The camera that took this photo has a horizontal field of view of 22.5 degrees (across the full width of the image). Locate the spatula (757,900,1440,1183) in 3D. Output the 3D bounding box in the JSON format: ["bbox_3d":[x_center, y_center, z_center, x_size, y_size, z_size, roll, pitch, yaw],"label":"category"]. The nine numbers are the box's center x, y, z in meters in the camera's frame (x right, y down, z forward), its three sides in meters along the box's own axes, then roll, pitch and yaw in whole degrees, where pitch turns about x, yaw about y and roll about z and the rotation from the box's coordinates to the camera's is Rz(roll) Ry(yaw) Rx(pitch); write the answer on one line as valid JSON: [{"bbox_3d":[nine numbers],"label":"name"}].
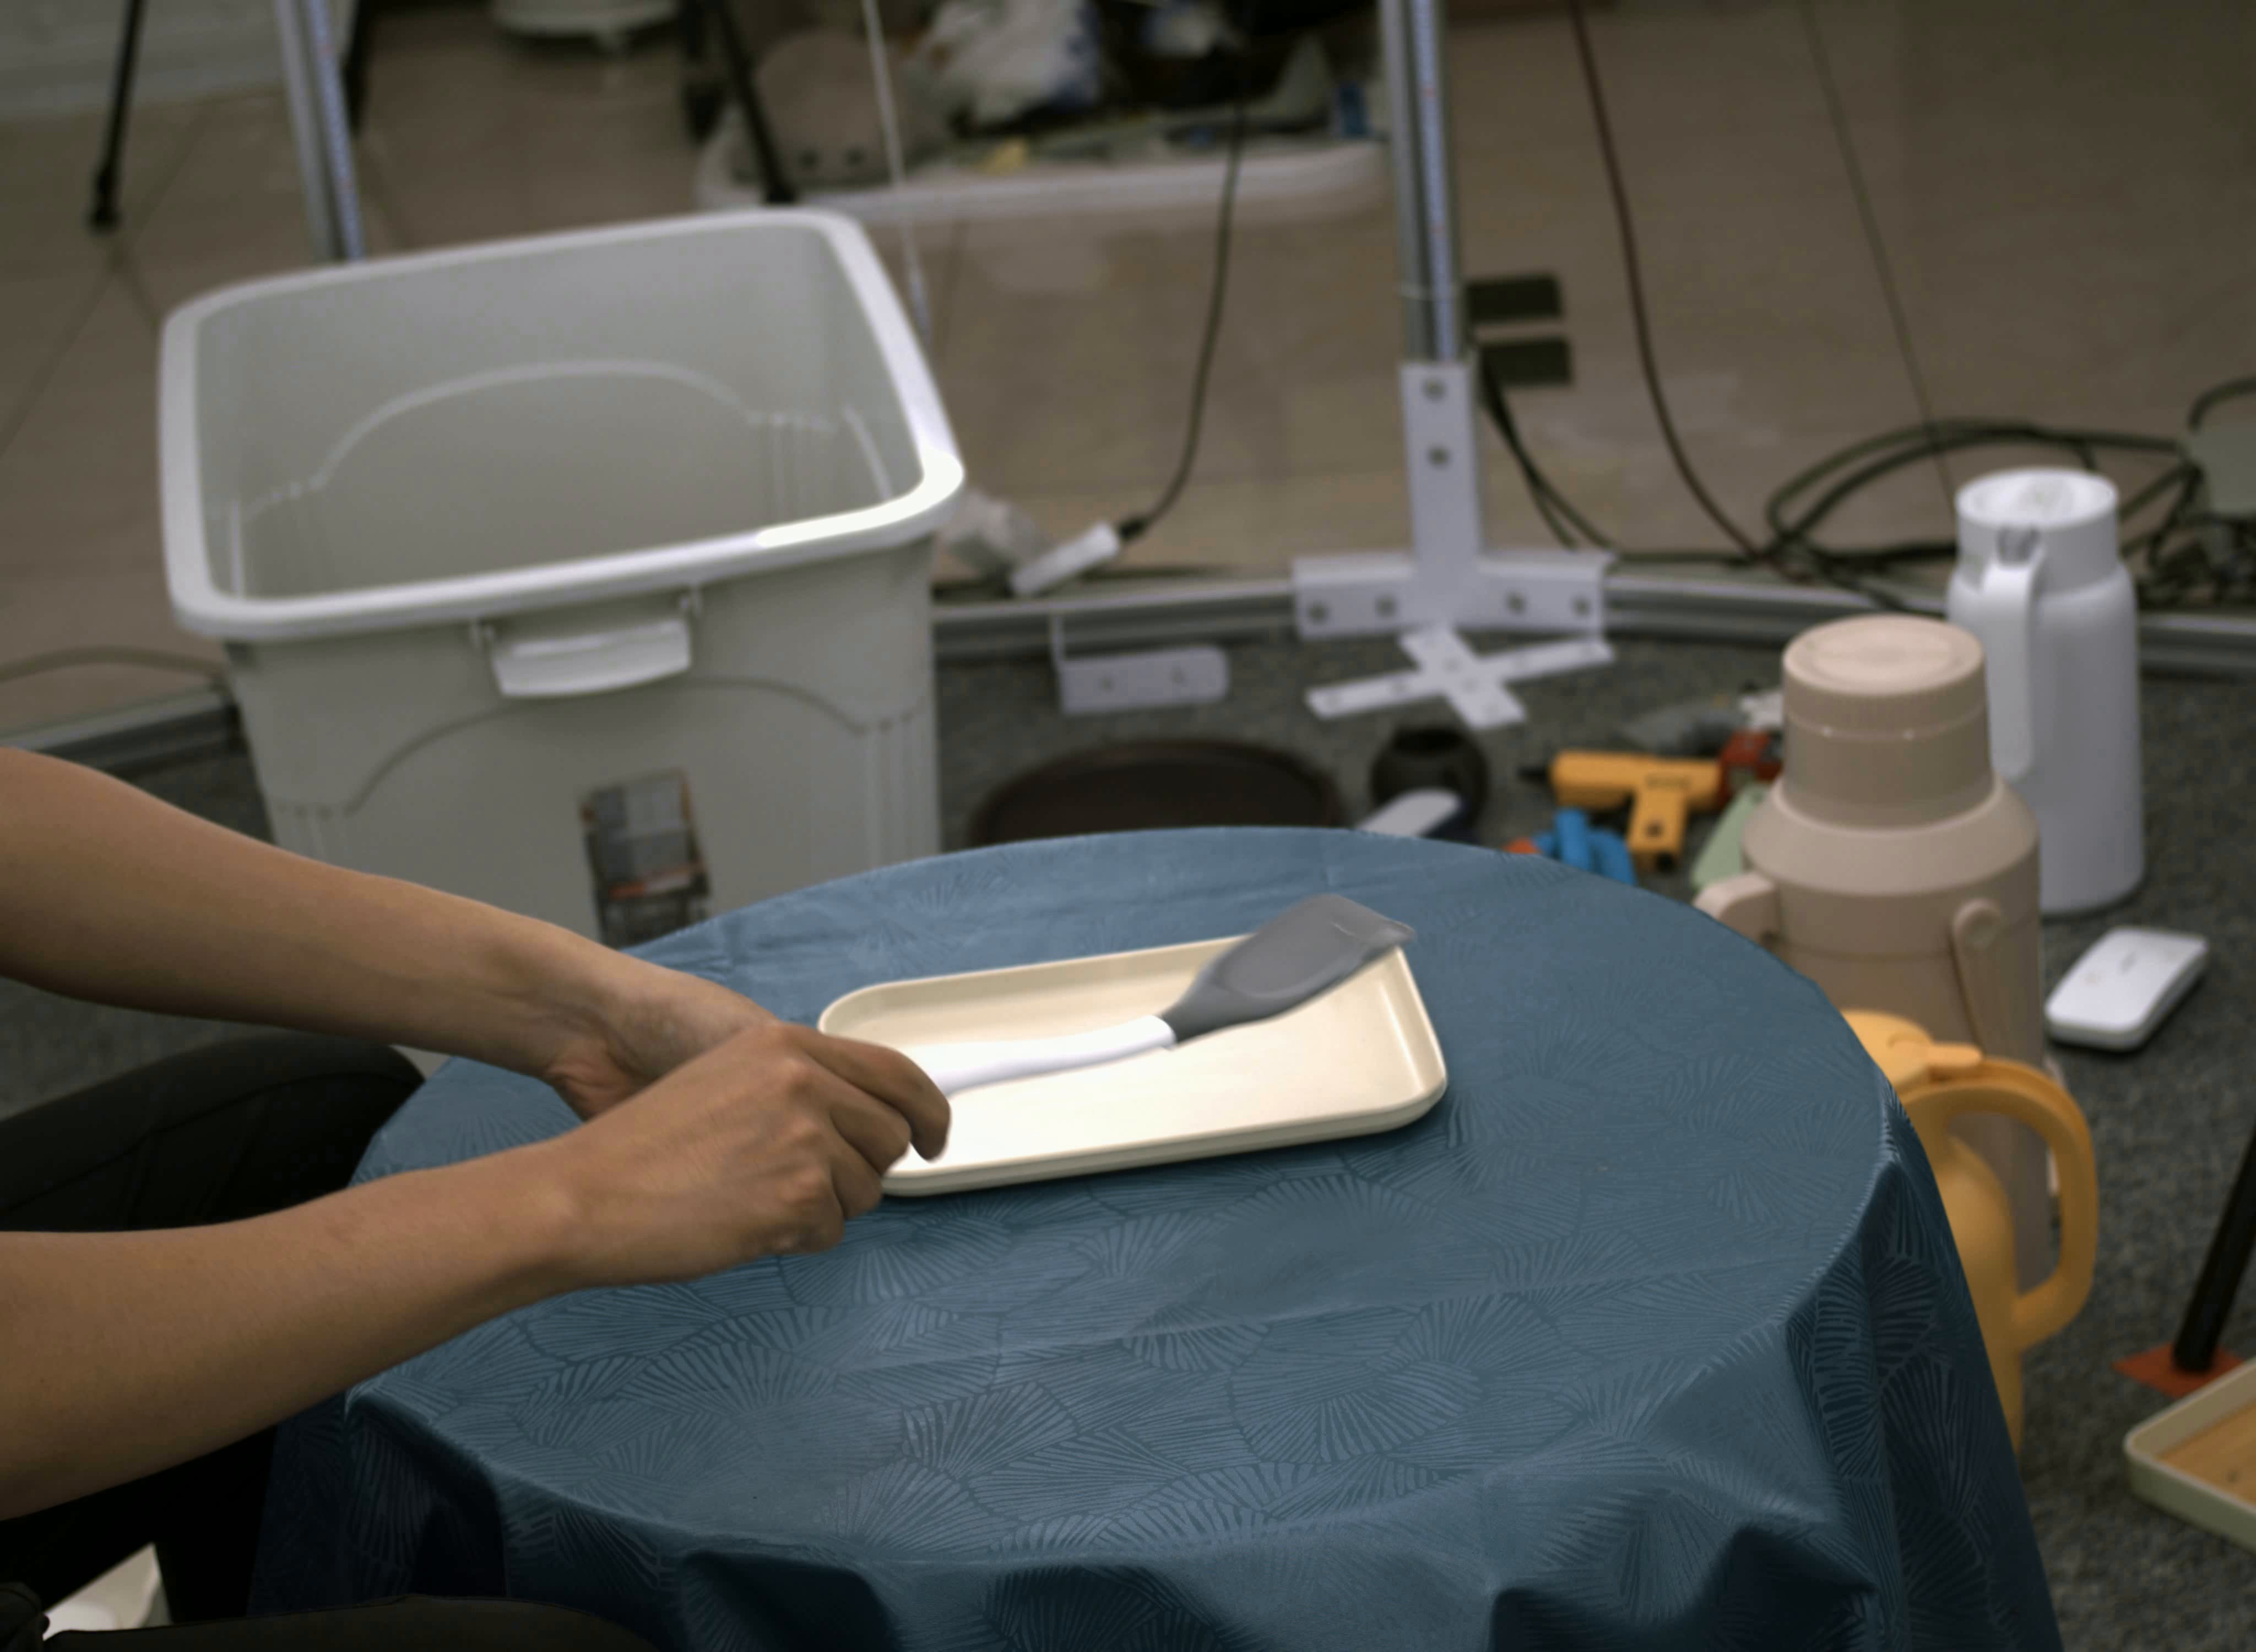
[{"bbox_3d":[-0.009,0.074,2.005,0.286,0.032,0.058,-16,25,-38],"label":"spatula"}]

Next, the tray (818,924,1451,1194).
[{"bbox_3d":[0.001,0.092,2.233,0.239,0.018,0.169,-8,24,-4],"label":"tray"}]
